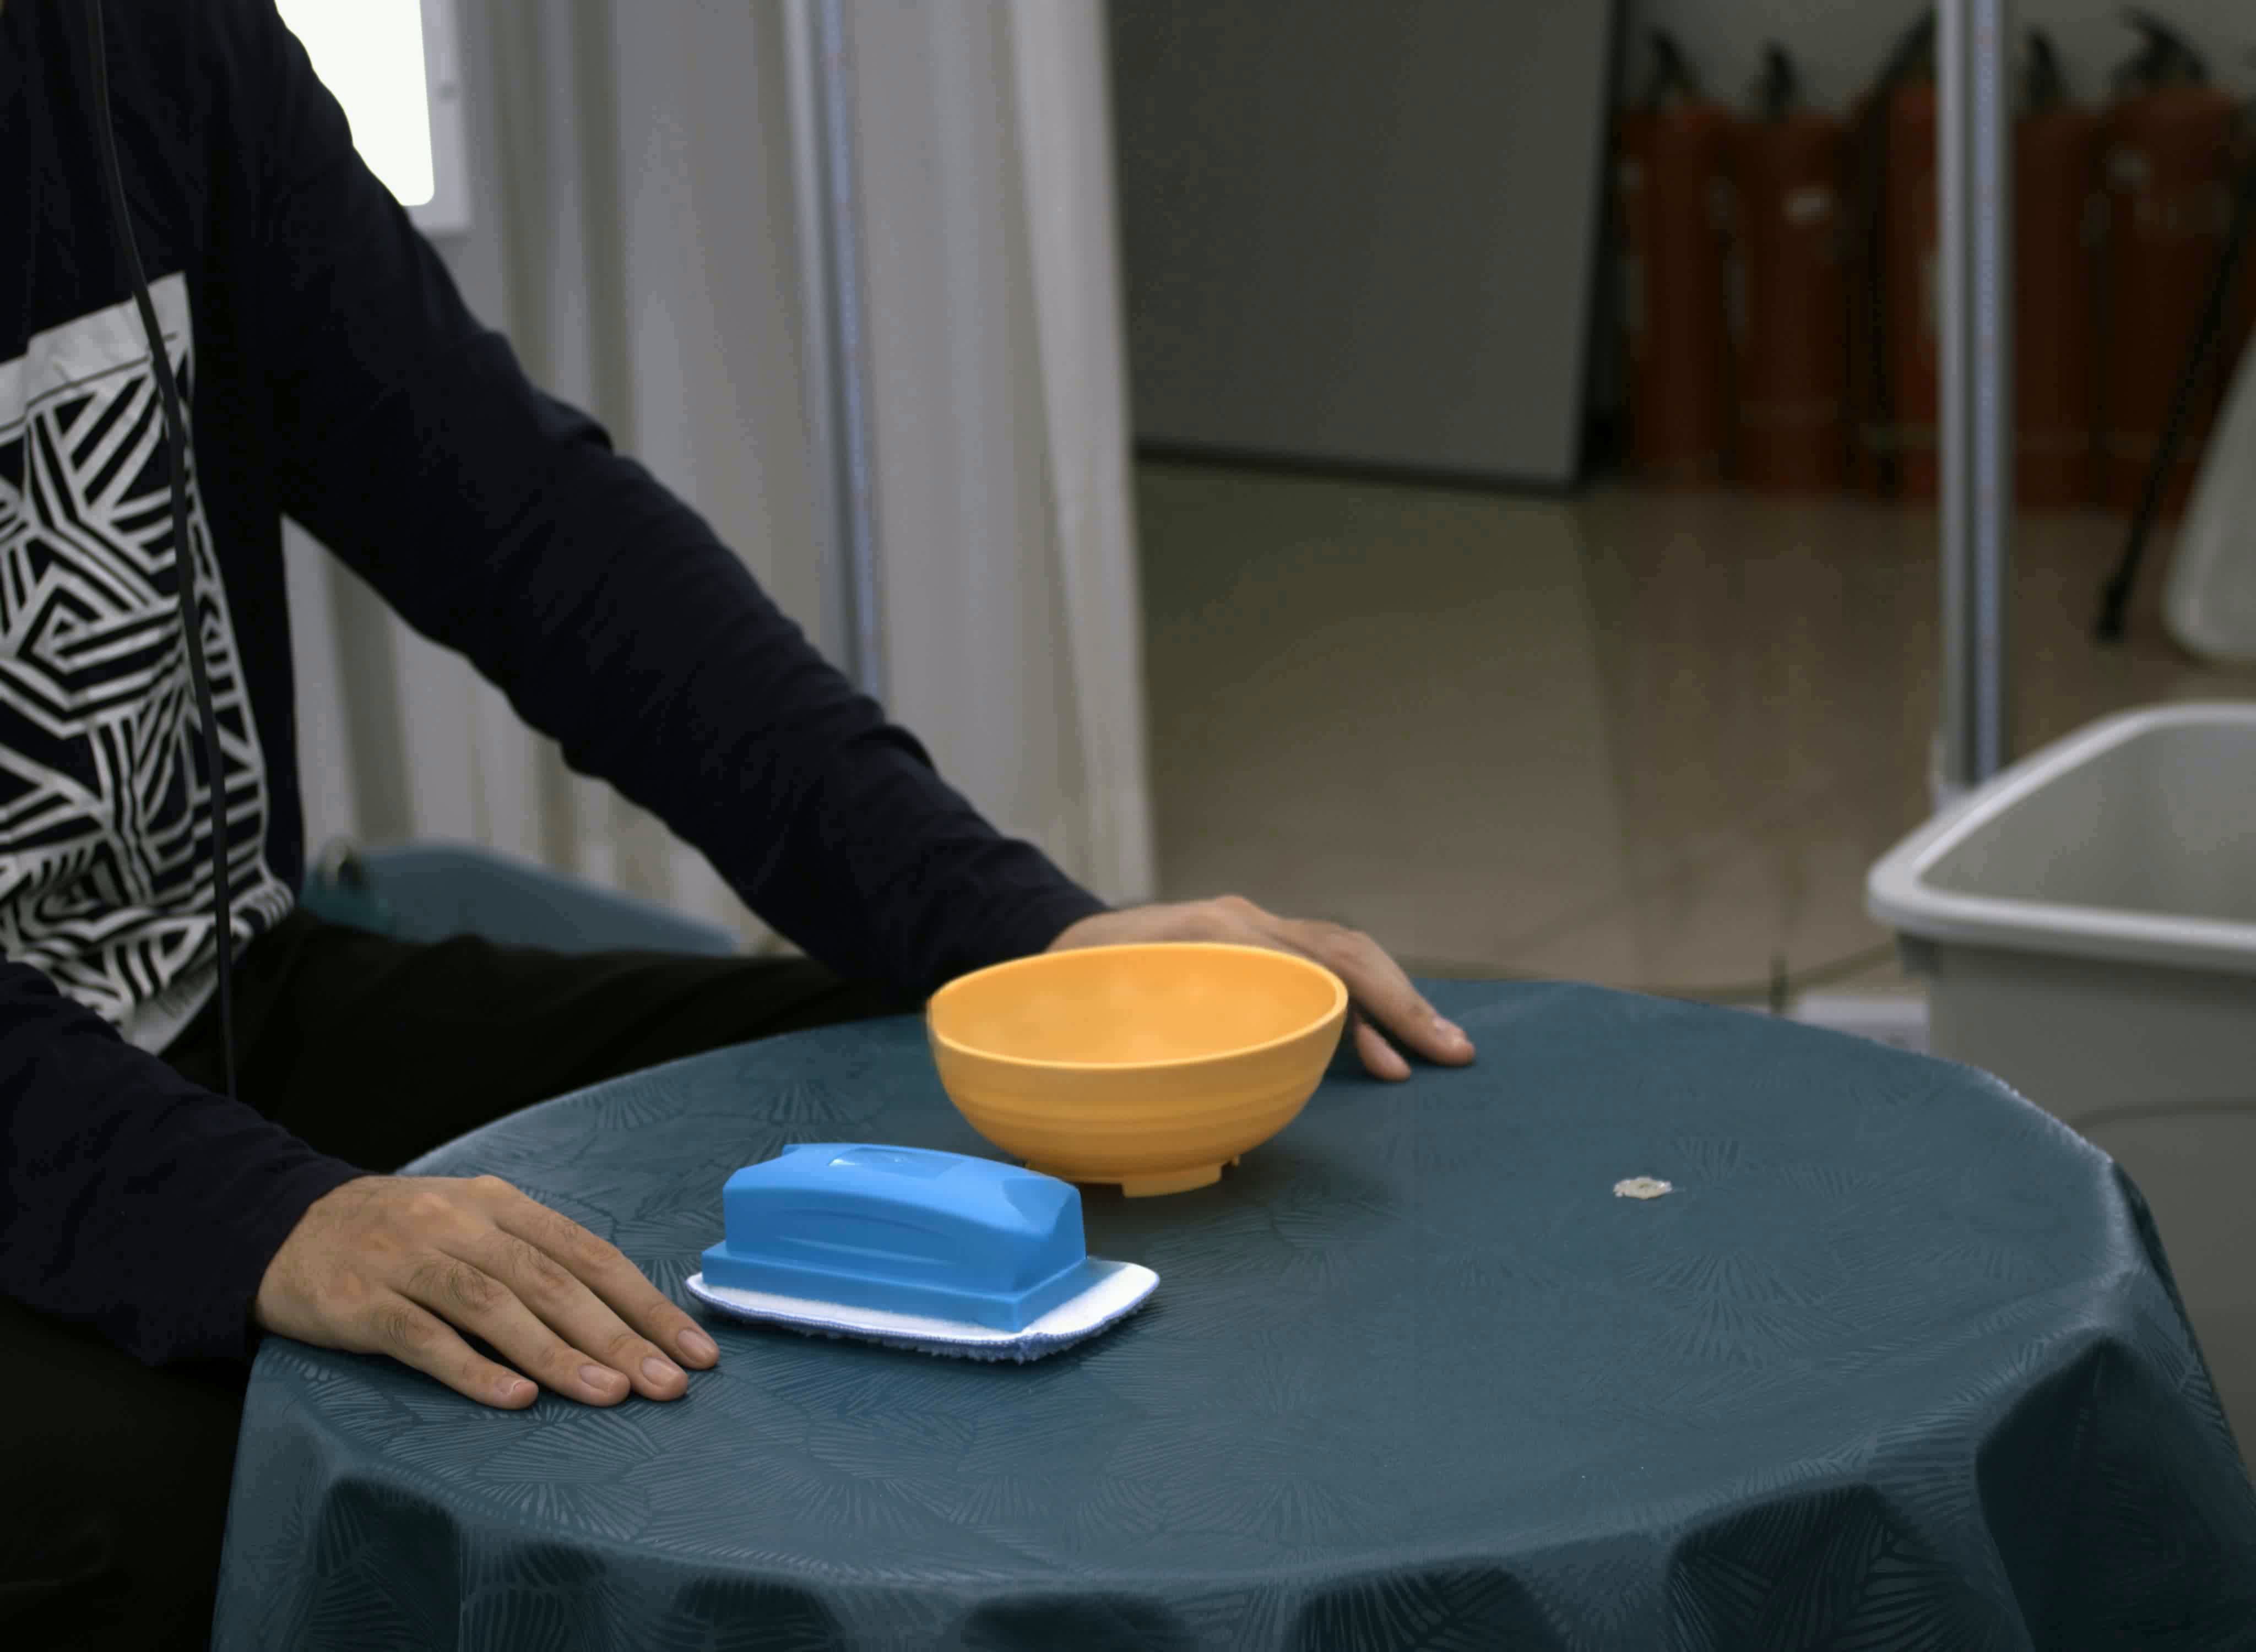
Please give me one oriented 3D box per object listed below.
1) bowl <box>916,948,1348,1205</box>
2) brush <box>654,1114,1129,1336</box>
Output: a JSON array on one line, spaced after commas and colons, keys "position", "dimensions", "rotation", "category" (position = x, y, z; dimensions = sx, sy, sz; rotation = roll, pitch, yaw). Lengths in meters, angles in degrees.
[{"position": [0.002, 0.088, 1.792], "dimensions": [0.143, 0.061, 0.145], "rotation": [-2, 14, 0], "category": "bowl"}, {"position": [-0.073, 0.122, 1.666], "dimensions": [0.145, 0.056, 0.082], "rotation": [8, 14, 34], "category": "brush"}]
